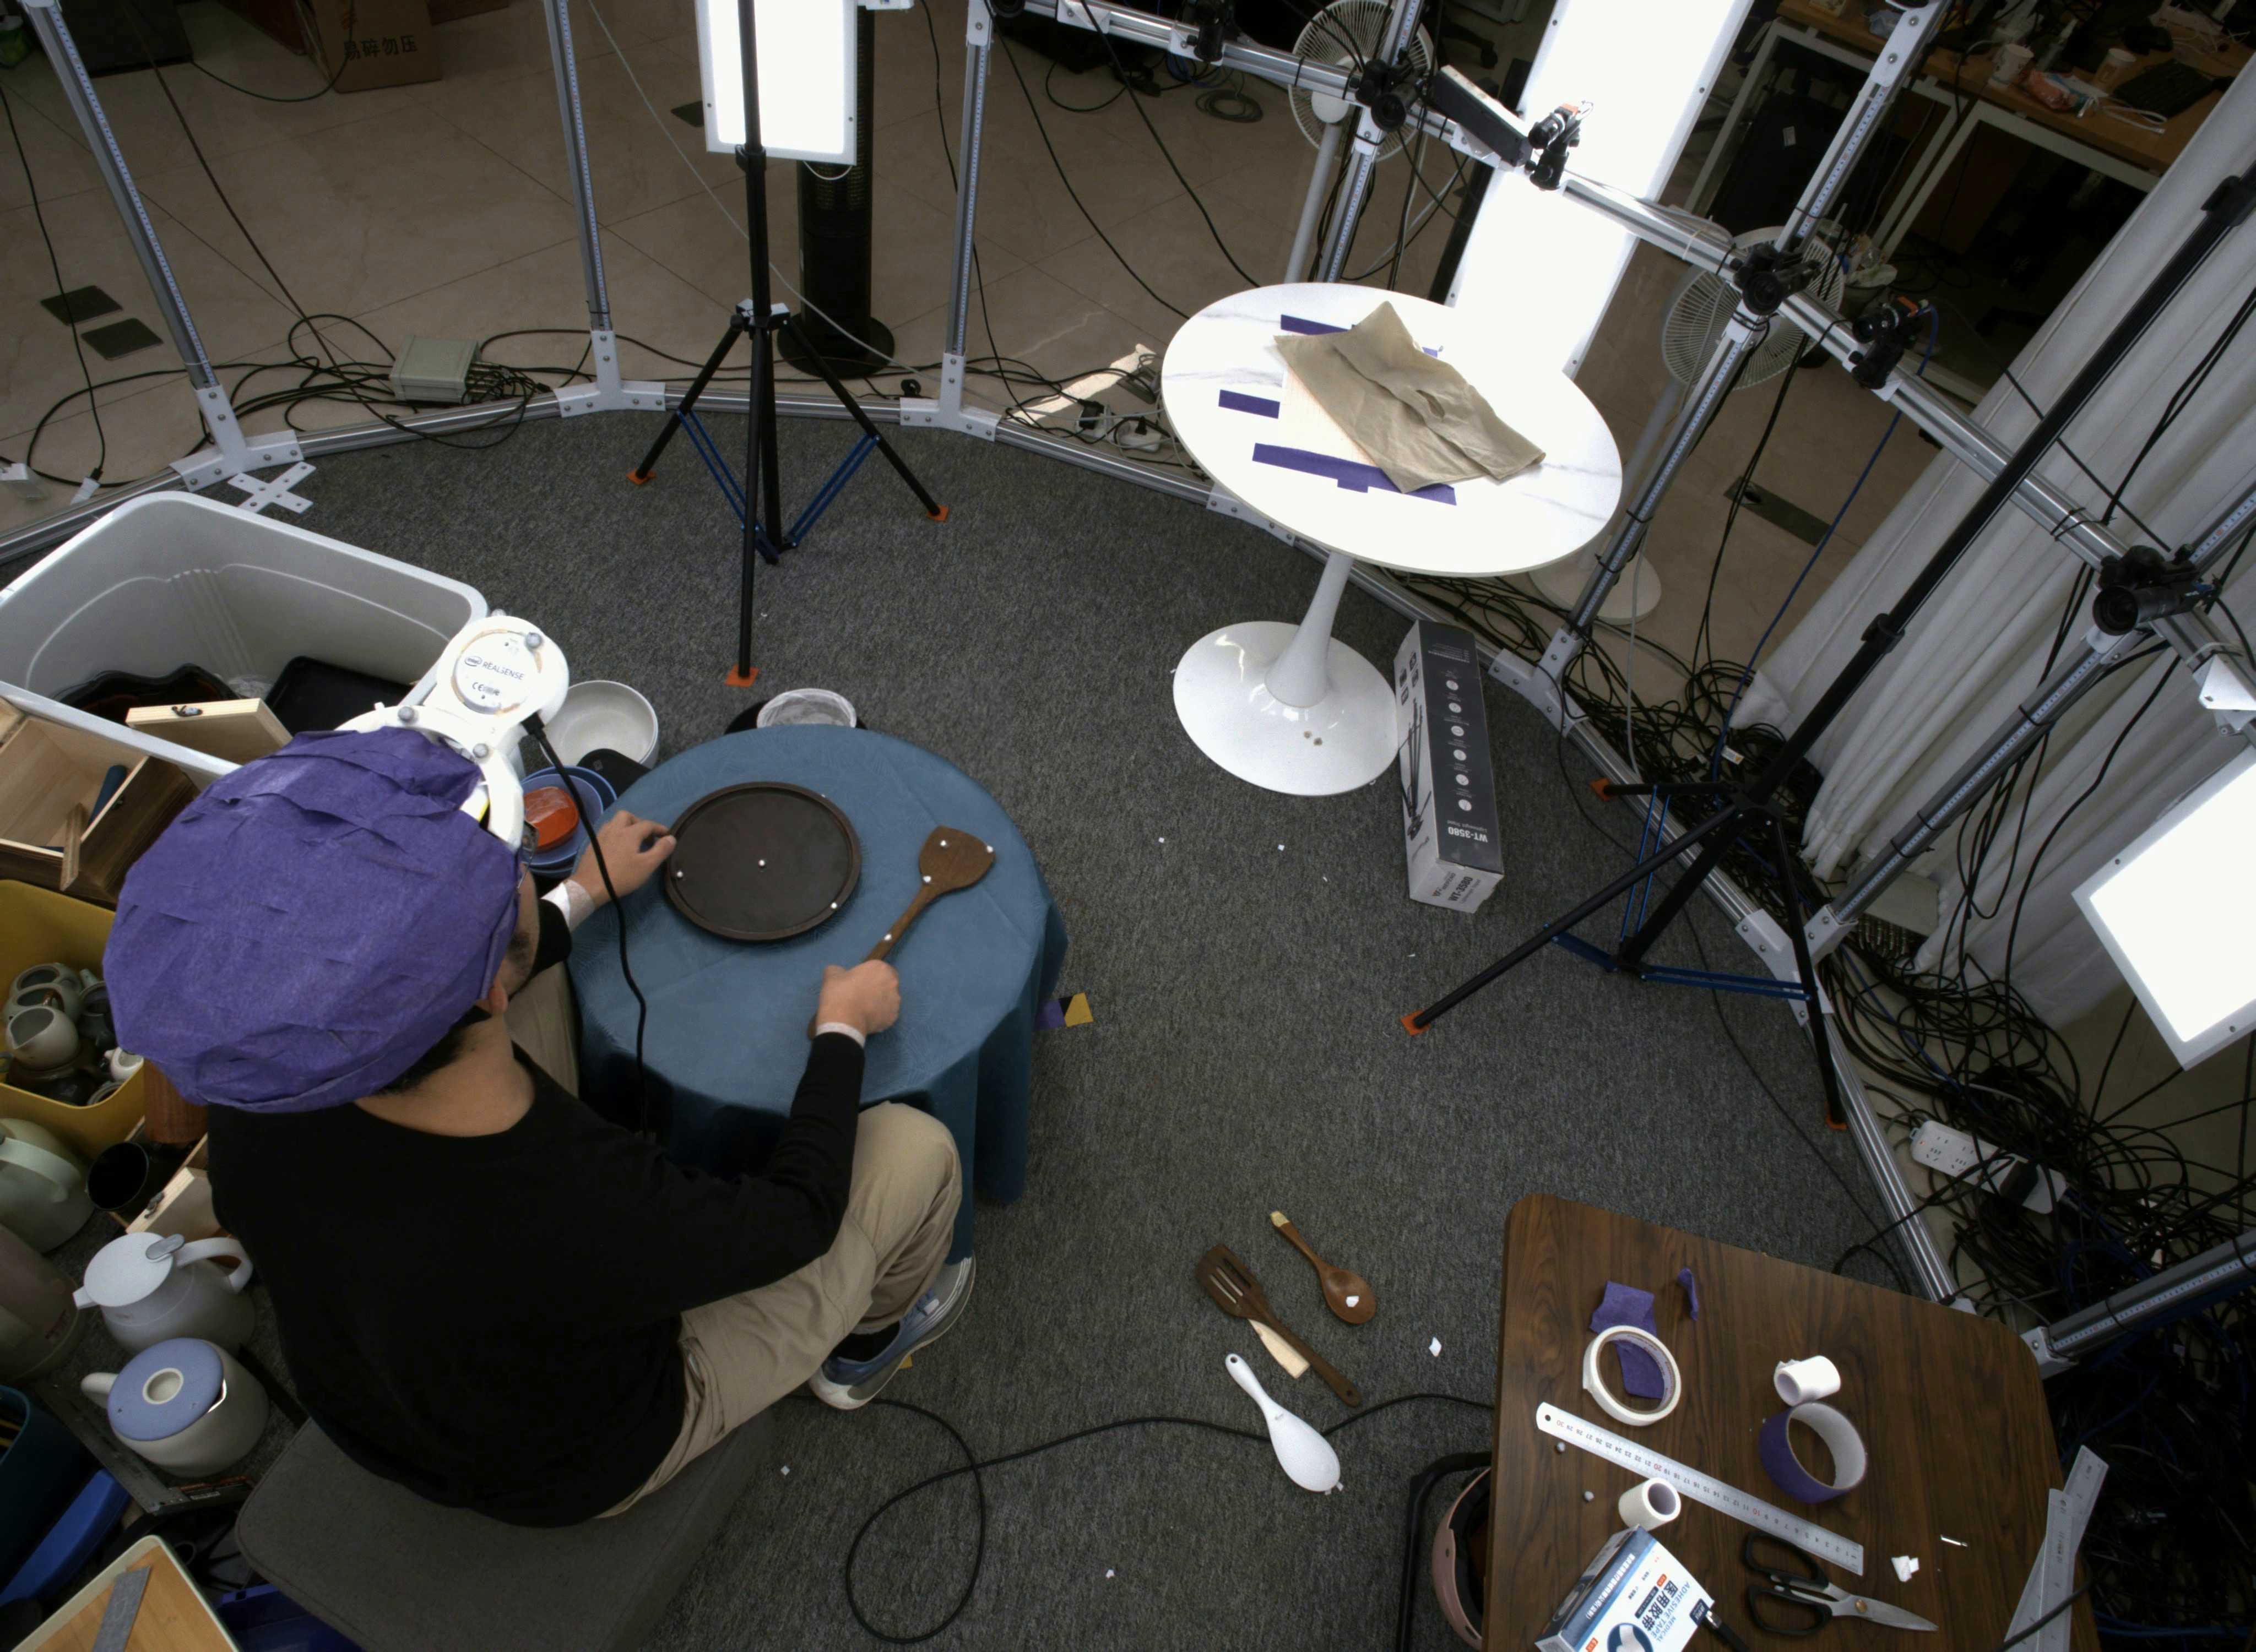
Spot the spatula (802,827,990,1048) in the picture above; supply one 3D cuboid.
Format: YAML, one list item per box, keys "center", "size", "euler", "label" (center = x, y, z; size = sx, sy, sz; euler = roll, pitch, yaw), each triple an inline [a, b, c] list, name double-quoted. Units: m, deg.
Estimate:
- center: [-0.296, 0.132, 1.632]
  size: [0.095, 0.016, 0.383]
  euler: [27, 47, 7]
  label: "spatula"

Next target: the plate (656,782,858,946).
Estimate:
- center: [-0.474, 0.045, 1.656]
  size: [0.254, 0.029, 0.250]
  euler: [9, 53, -10]
  label: "plate"
